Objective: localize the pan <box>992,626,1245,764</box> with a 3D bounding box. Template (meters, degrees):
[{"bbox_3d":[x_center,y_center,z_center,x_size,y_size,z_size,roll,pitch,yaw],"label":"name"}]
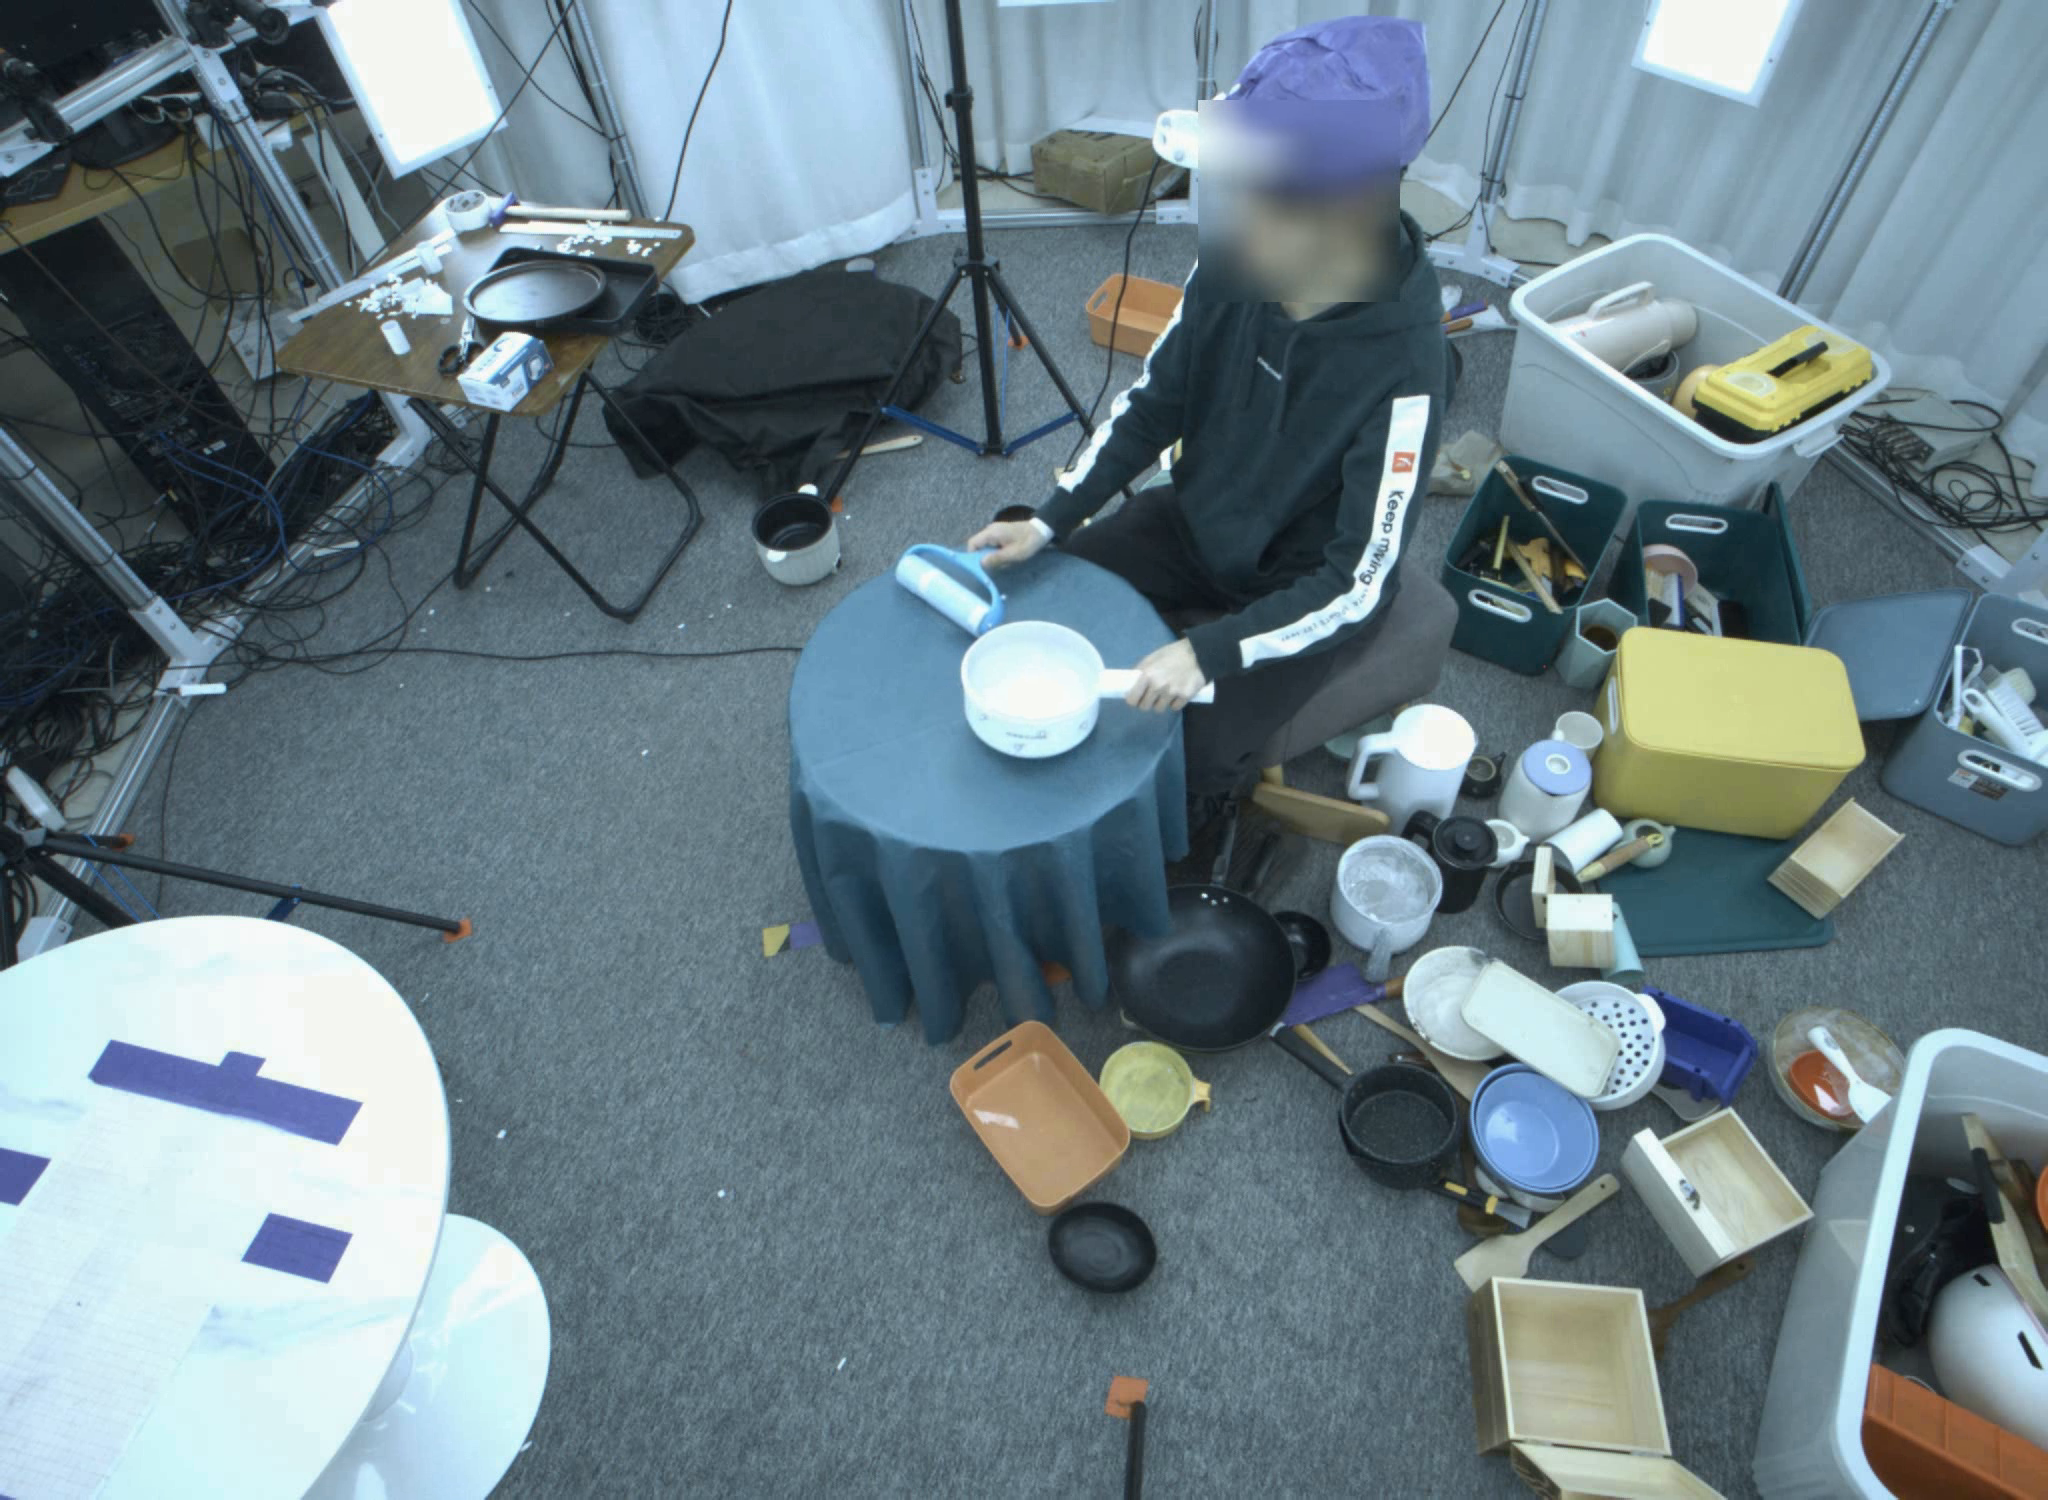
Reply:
[{"bbox_3d":[0.131,-0.066,1.752,0.355,0.103,0.199,6,49,0],"label":"pan"}]

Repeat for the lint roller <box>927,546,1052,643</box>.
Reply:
[{"bbox_3d":[-0.031,-0.277,1.932,0.224,0.069,0.181,36,69,29],"label":"lint roller"}]
